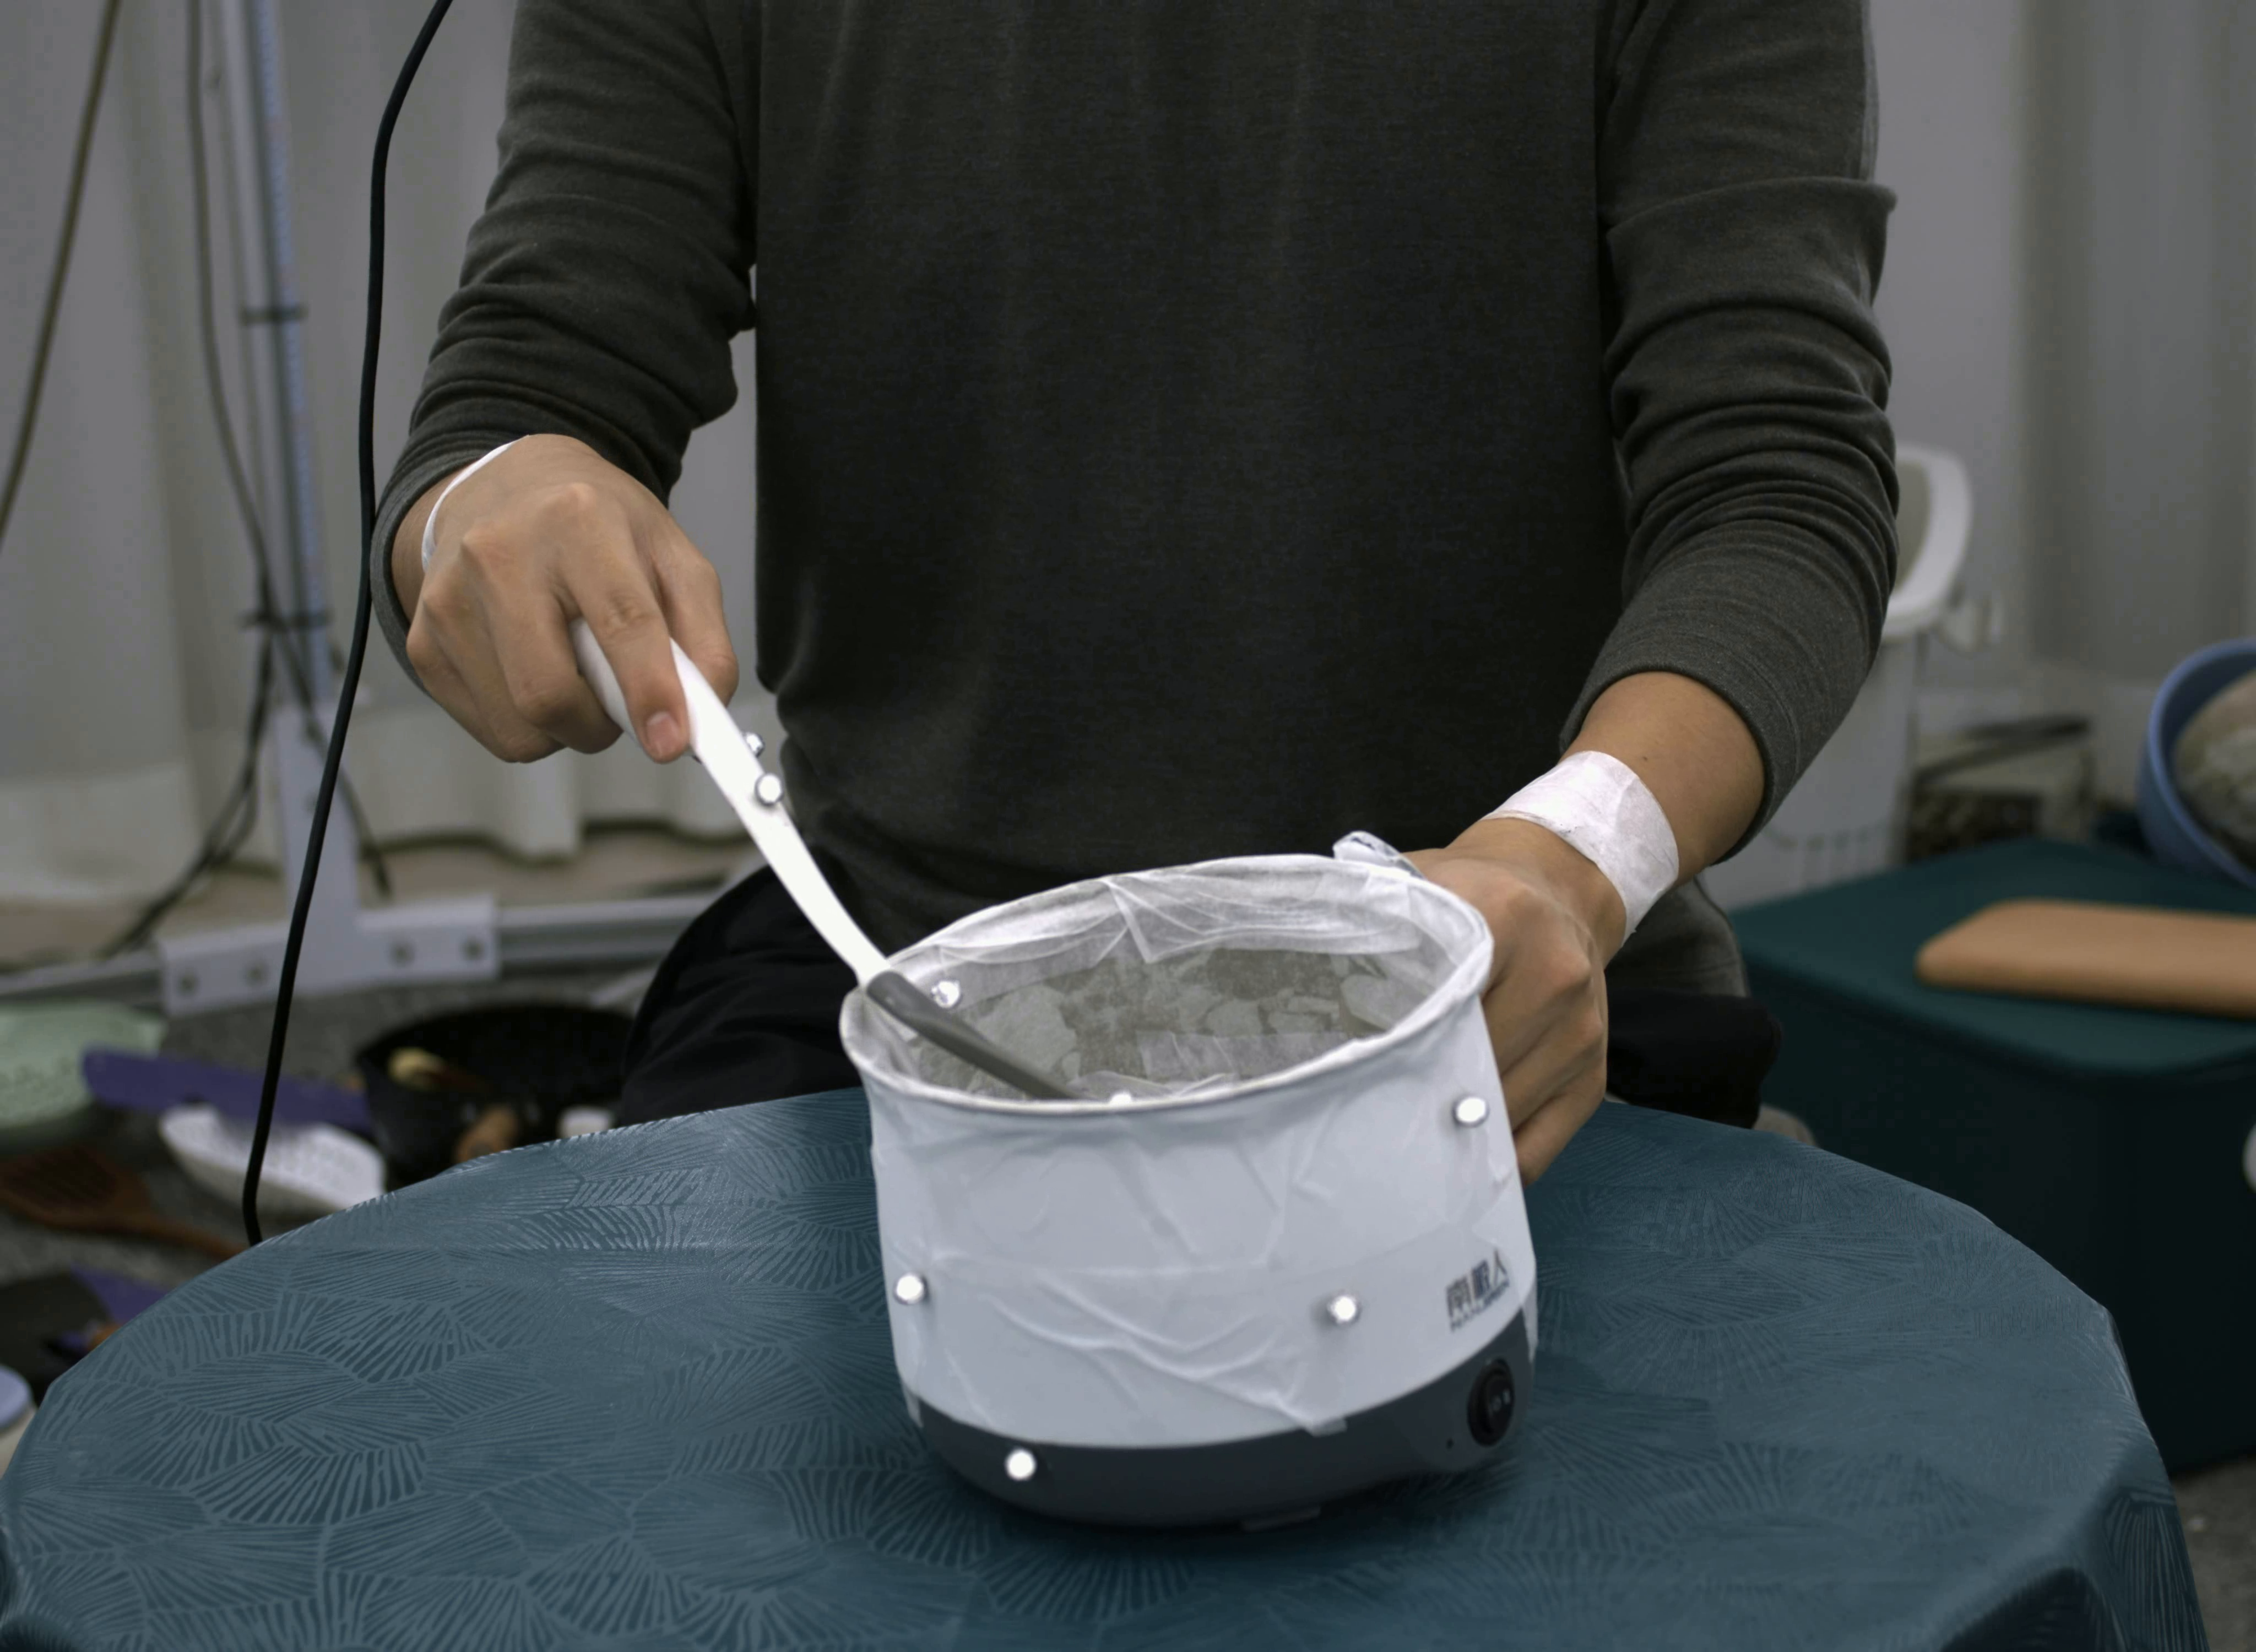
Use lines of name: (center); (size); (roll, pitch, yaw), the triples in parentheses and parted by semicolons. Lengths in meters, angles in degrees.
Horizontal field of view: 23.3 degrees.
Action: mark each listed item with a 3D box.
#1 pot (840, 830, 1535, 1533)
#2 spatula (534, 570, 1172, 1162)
pot: (0.034, 0.090, 1.501); (0.179, 0.136, 0.234); (5, 23, 34)
spatula: (-0.078, 0.015, 1.493); (0.291, 0.032, 0.058); (43, 0, 41)
